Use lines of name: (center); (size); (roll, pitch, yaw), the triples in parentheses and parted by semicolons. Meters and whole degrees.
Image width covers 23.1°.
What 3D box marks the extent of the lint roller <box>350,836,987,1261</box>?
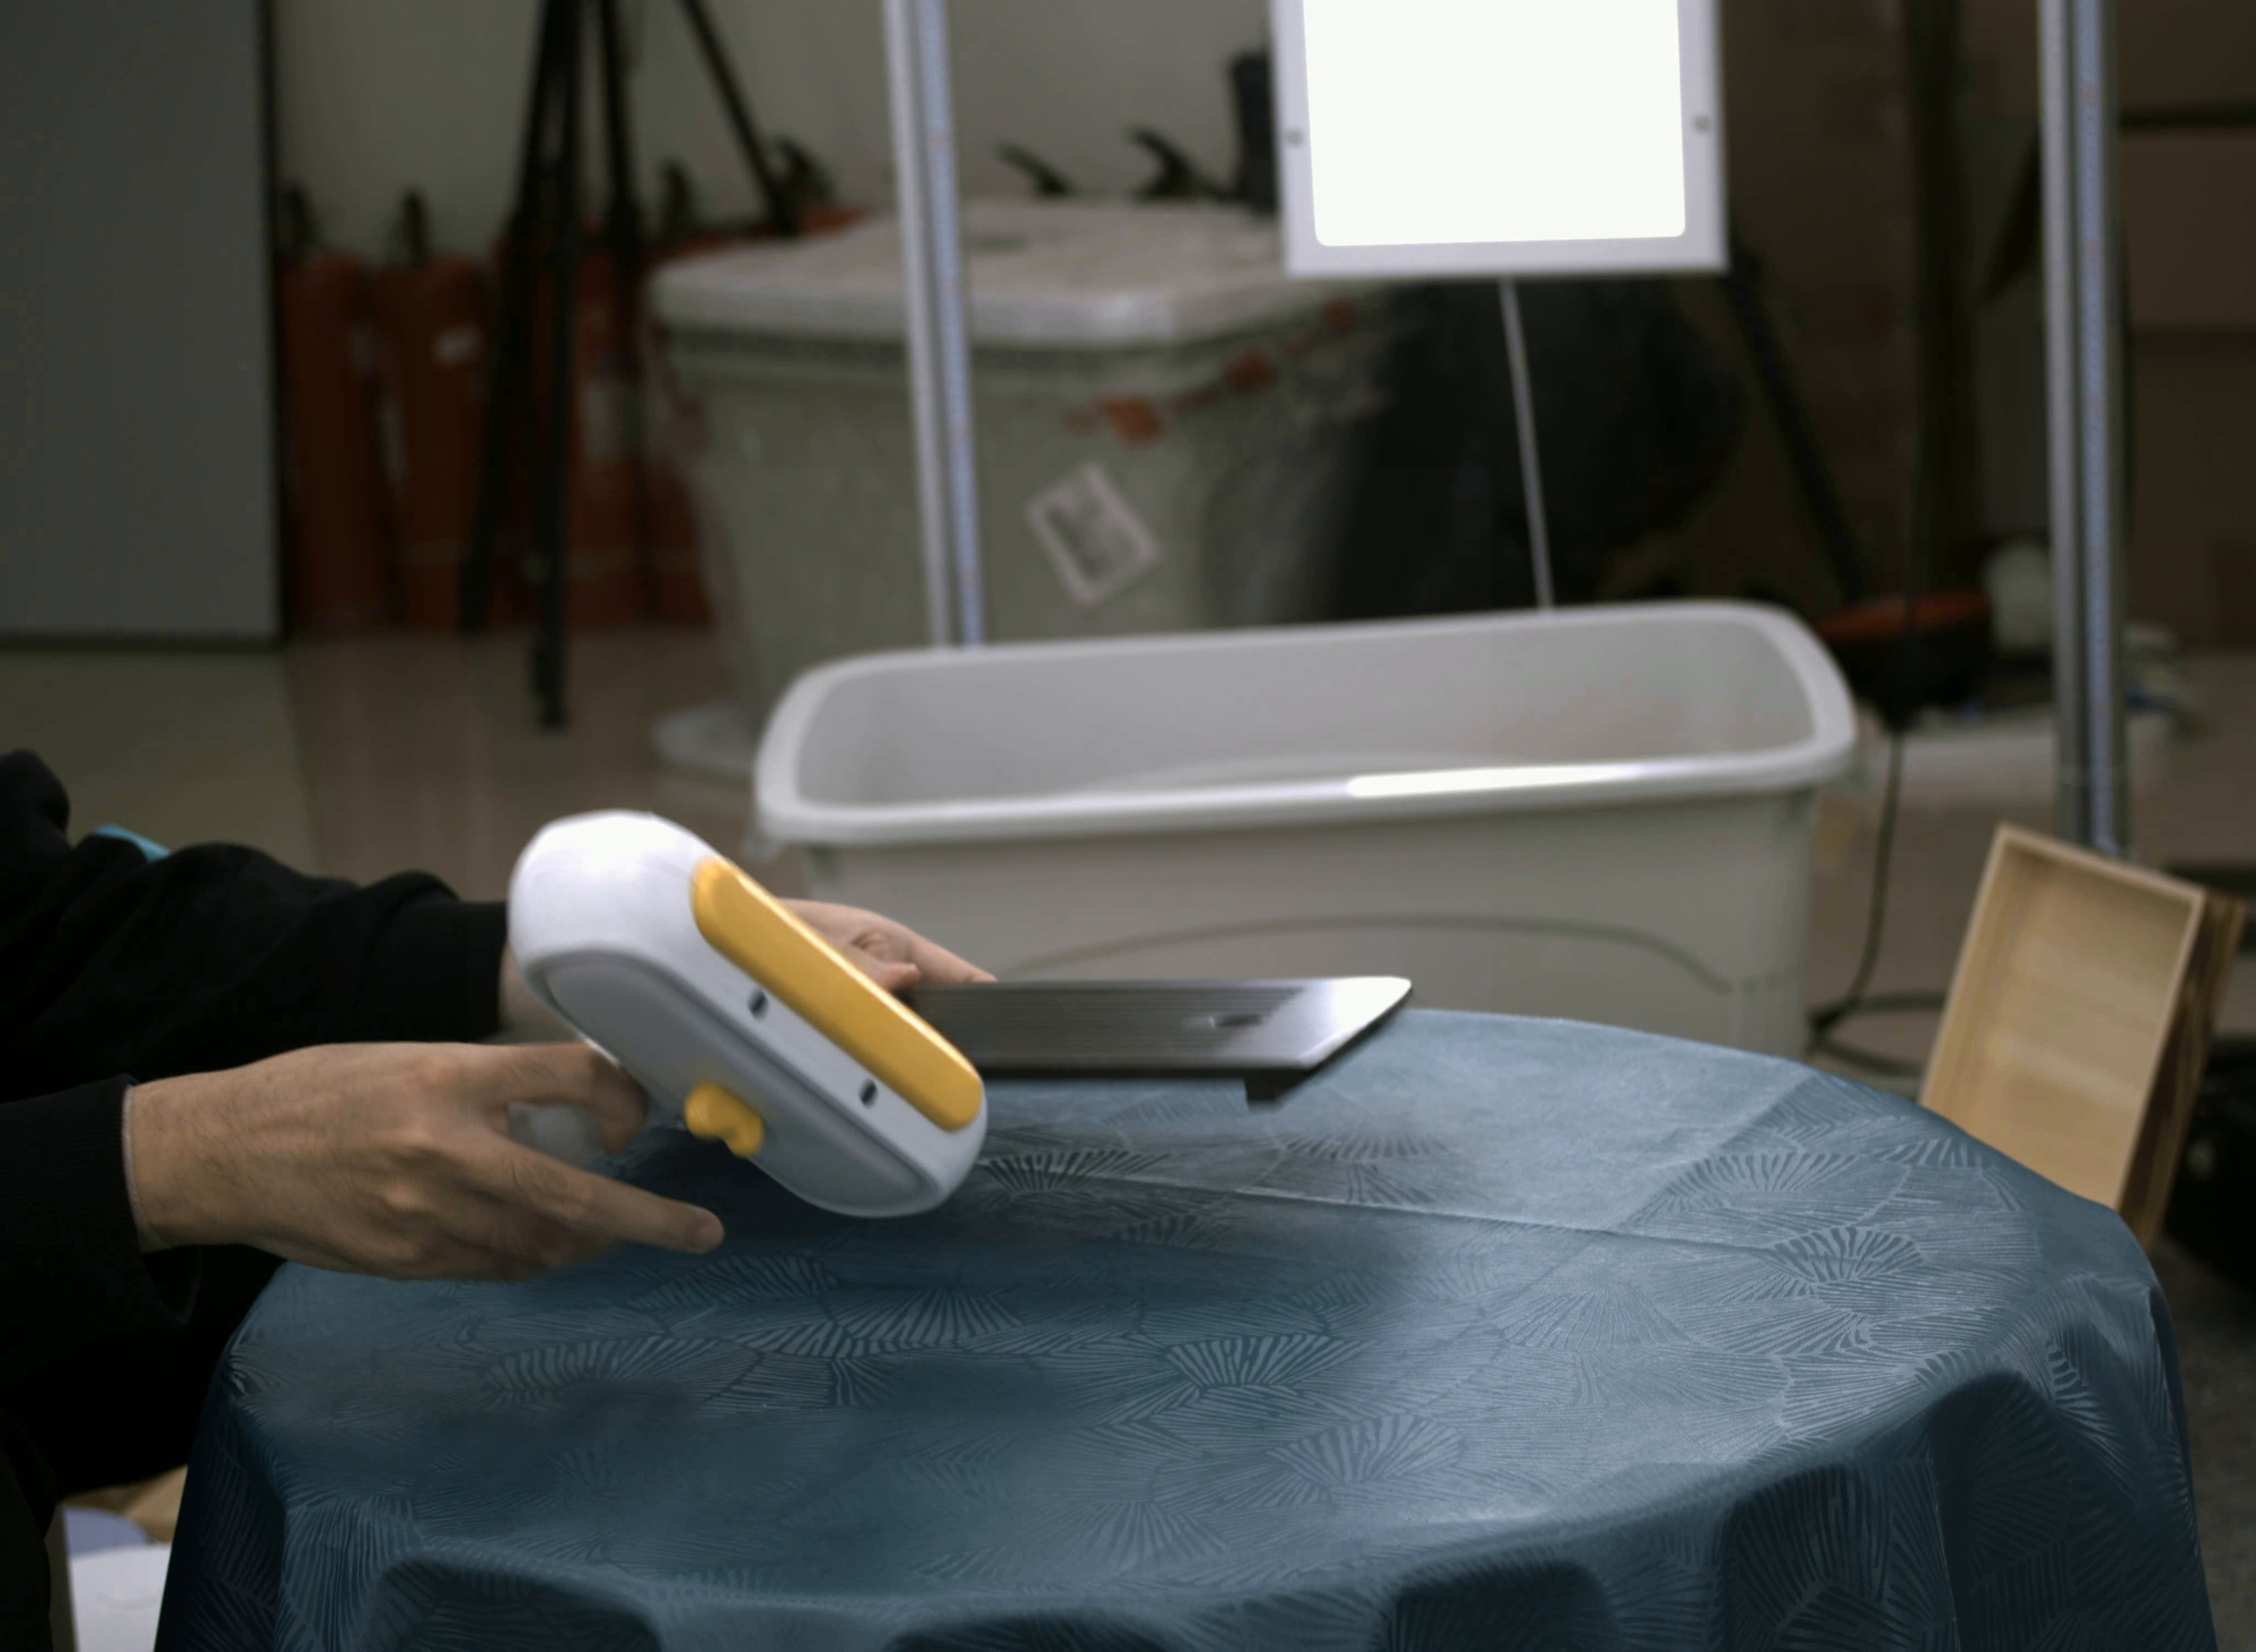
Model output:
lint roller: (-0.164, 0.084, 1.718); (0.196, 0.074, 0.189); (-19, -35, 33)

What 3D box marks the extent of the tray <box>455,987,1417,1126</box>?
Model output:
tray: (-0.063, 0.079, 1.899); (0.309, 0.019, 0.167); (-1, 9, 17)
